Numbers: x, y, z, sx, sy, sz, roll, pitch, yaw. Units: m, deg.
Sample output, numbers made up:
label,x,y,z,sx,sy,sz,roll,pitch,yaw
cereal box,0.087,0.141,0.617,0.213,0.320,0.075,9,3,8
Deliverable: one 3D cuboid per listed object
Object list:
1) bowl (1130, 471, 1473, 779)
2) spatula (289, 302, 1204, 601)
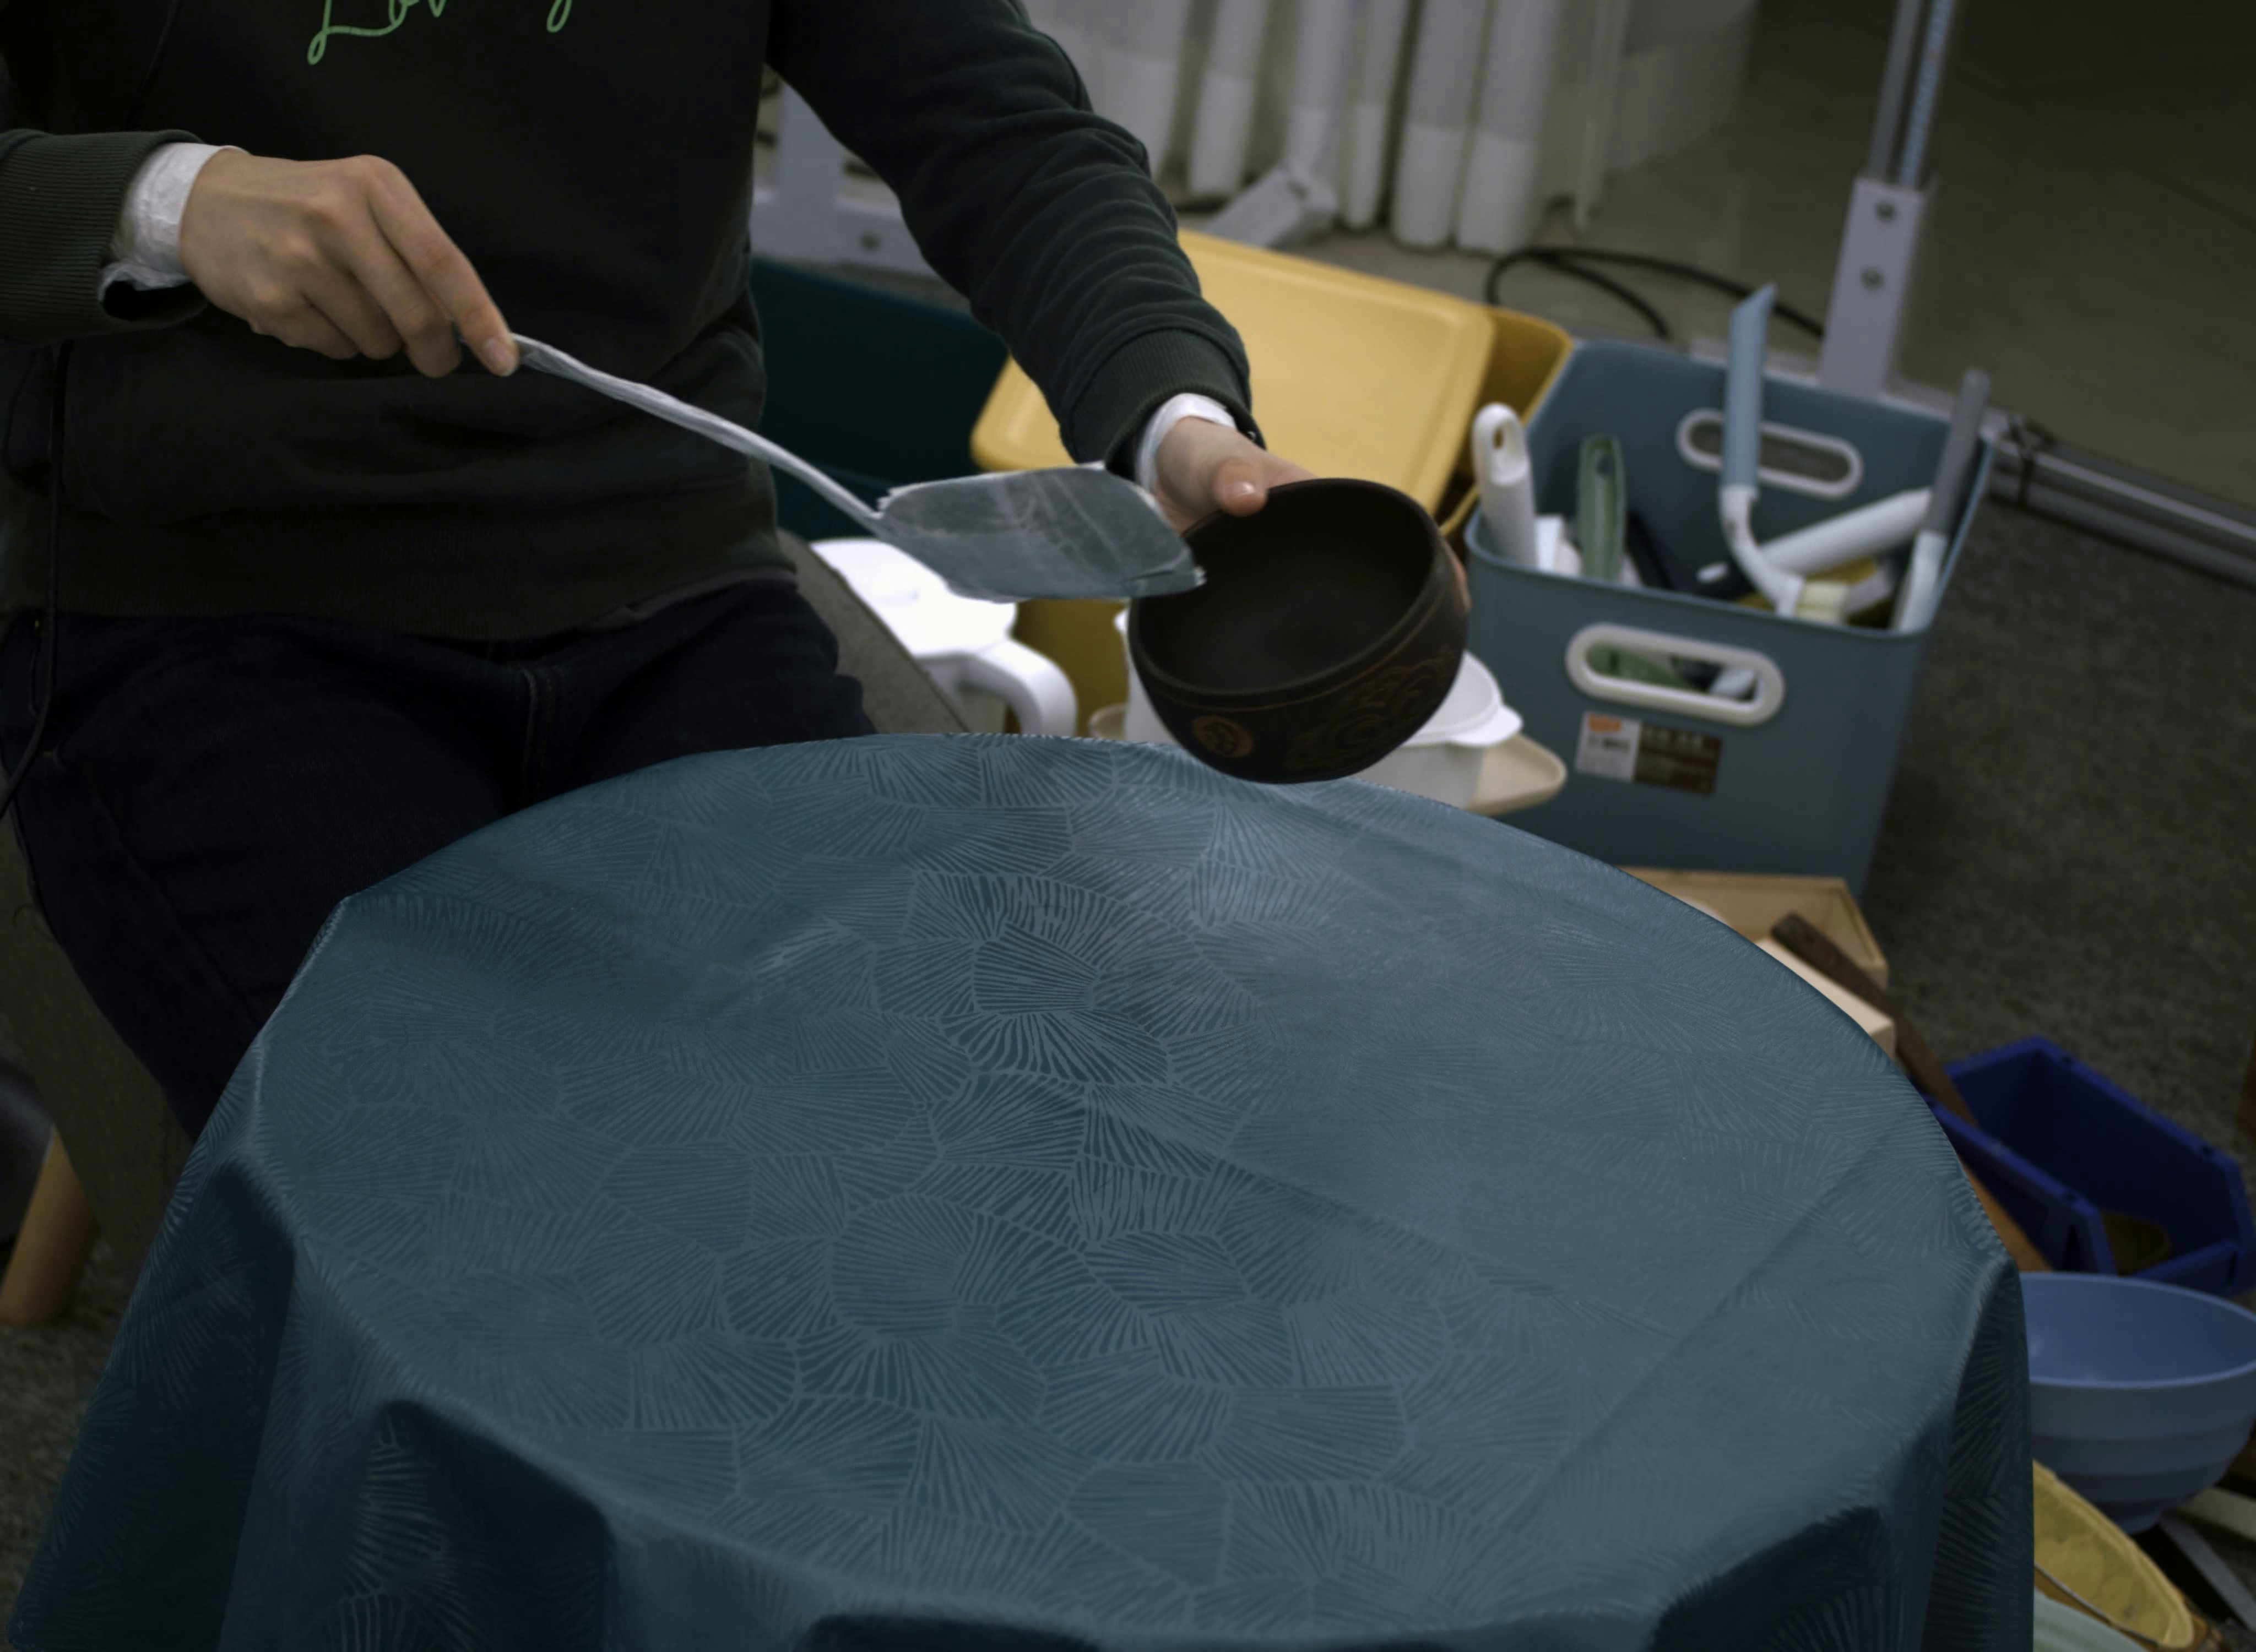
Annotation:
label,x,y,z,sx,sy,sz,roll,pitch,yaw
bowl,0.065,-0.061,1.863,0.118,0.069,0.119,-14,38,11
spatula,-0.141,-0.137,1.799,0.367,0.045,0.098,22,-13,28
